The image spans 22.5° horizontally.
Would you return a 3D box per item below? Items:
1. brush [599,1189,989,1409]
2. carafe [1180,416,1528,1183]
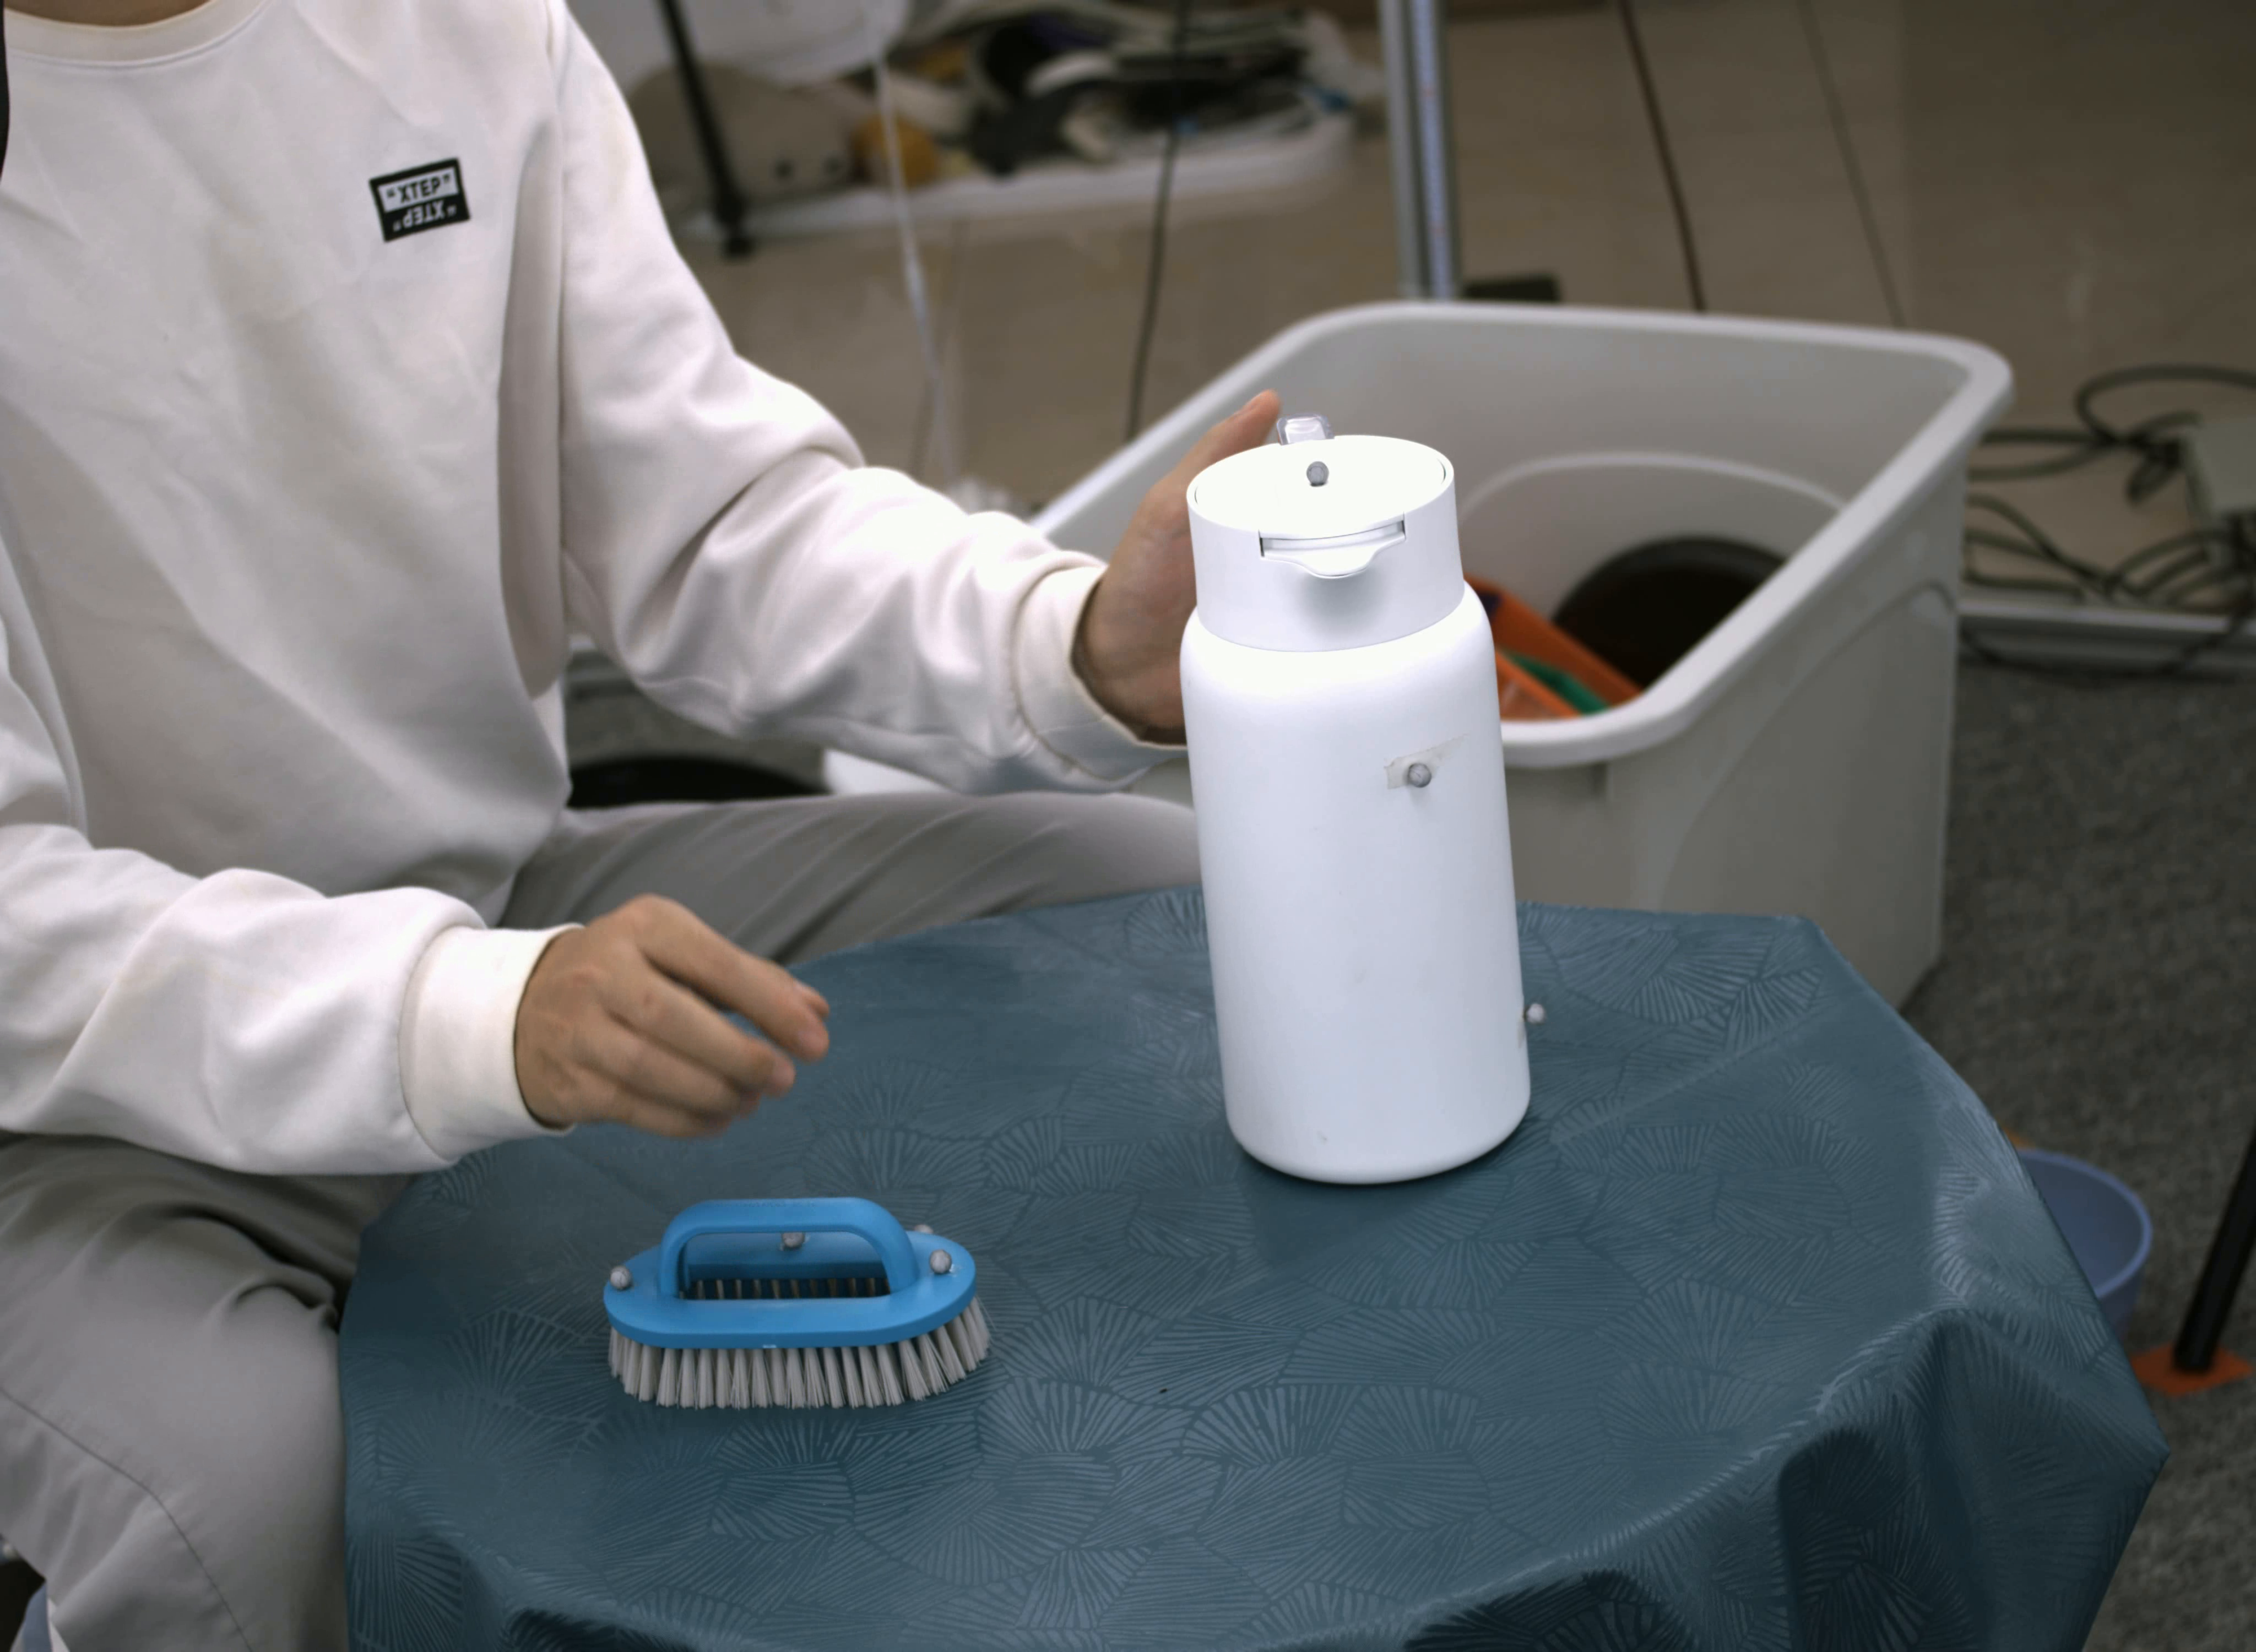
[{"bbox_3d":[-0.124,0.162,2.047,0.141,0.065,0.083,-1,30,12],"label":"brush"},{"bbox_3d":[0.080,-0.014,2.135,0.123,0.273,0.170,-9,25,-1],"label":"carafe"}]
